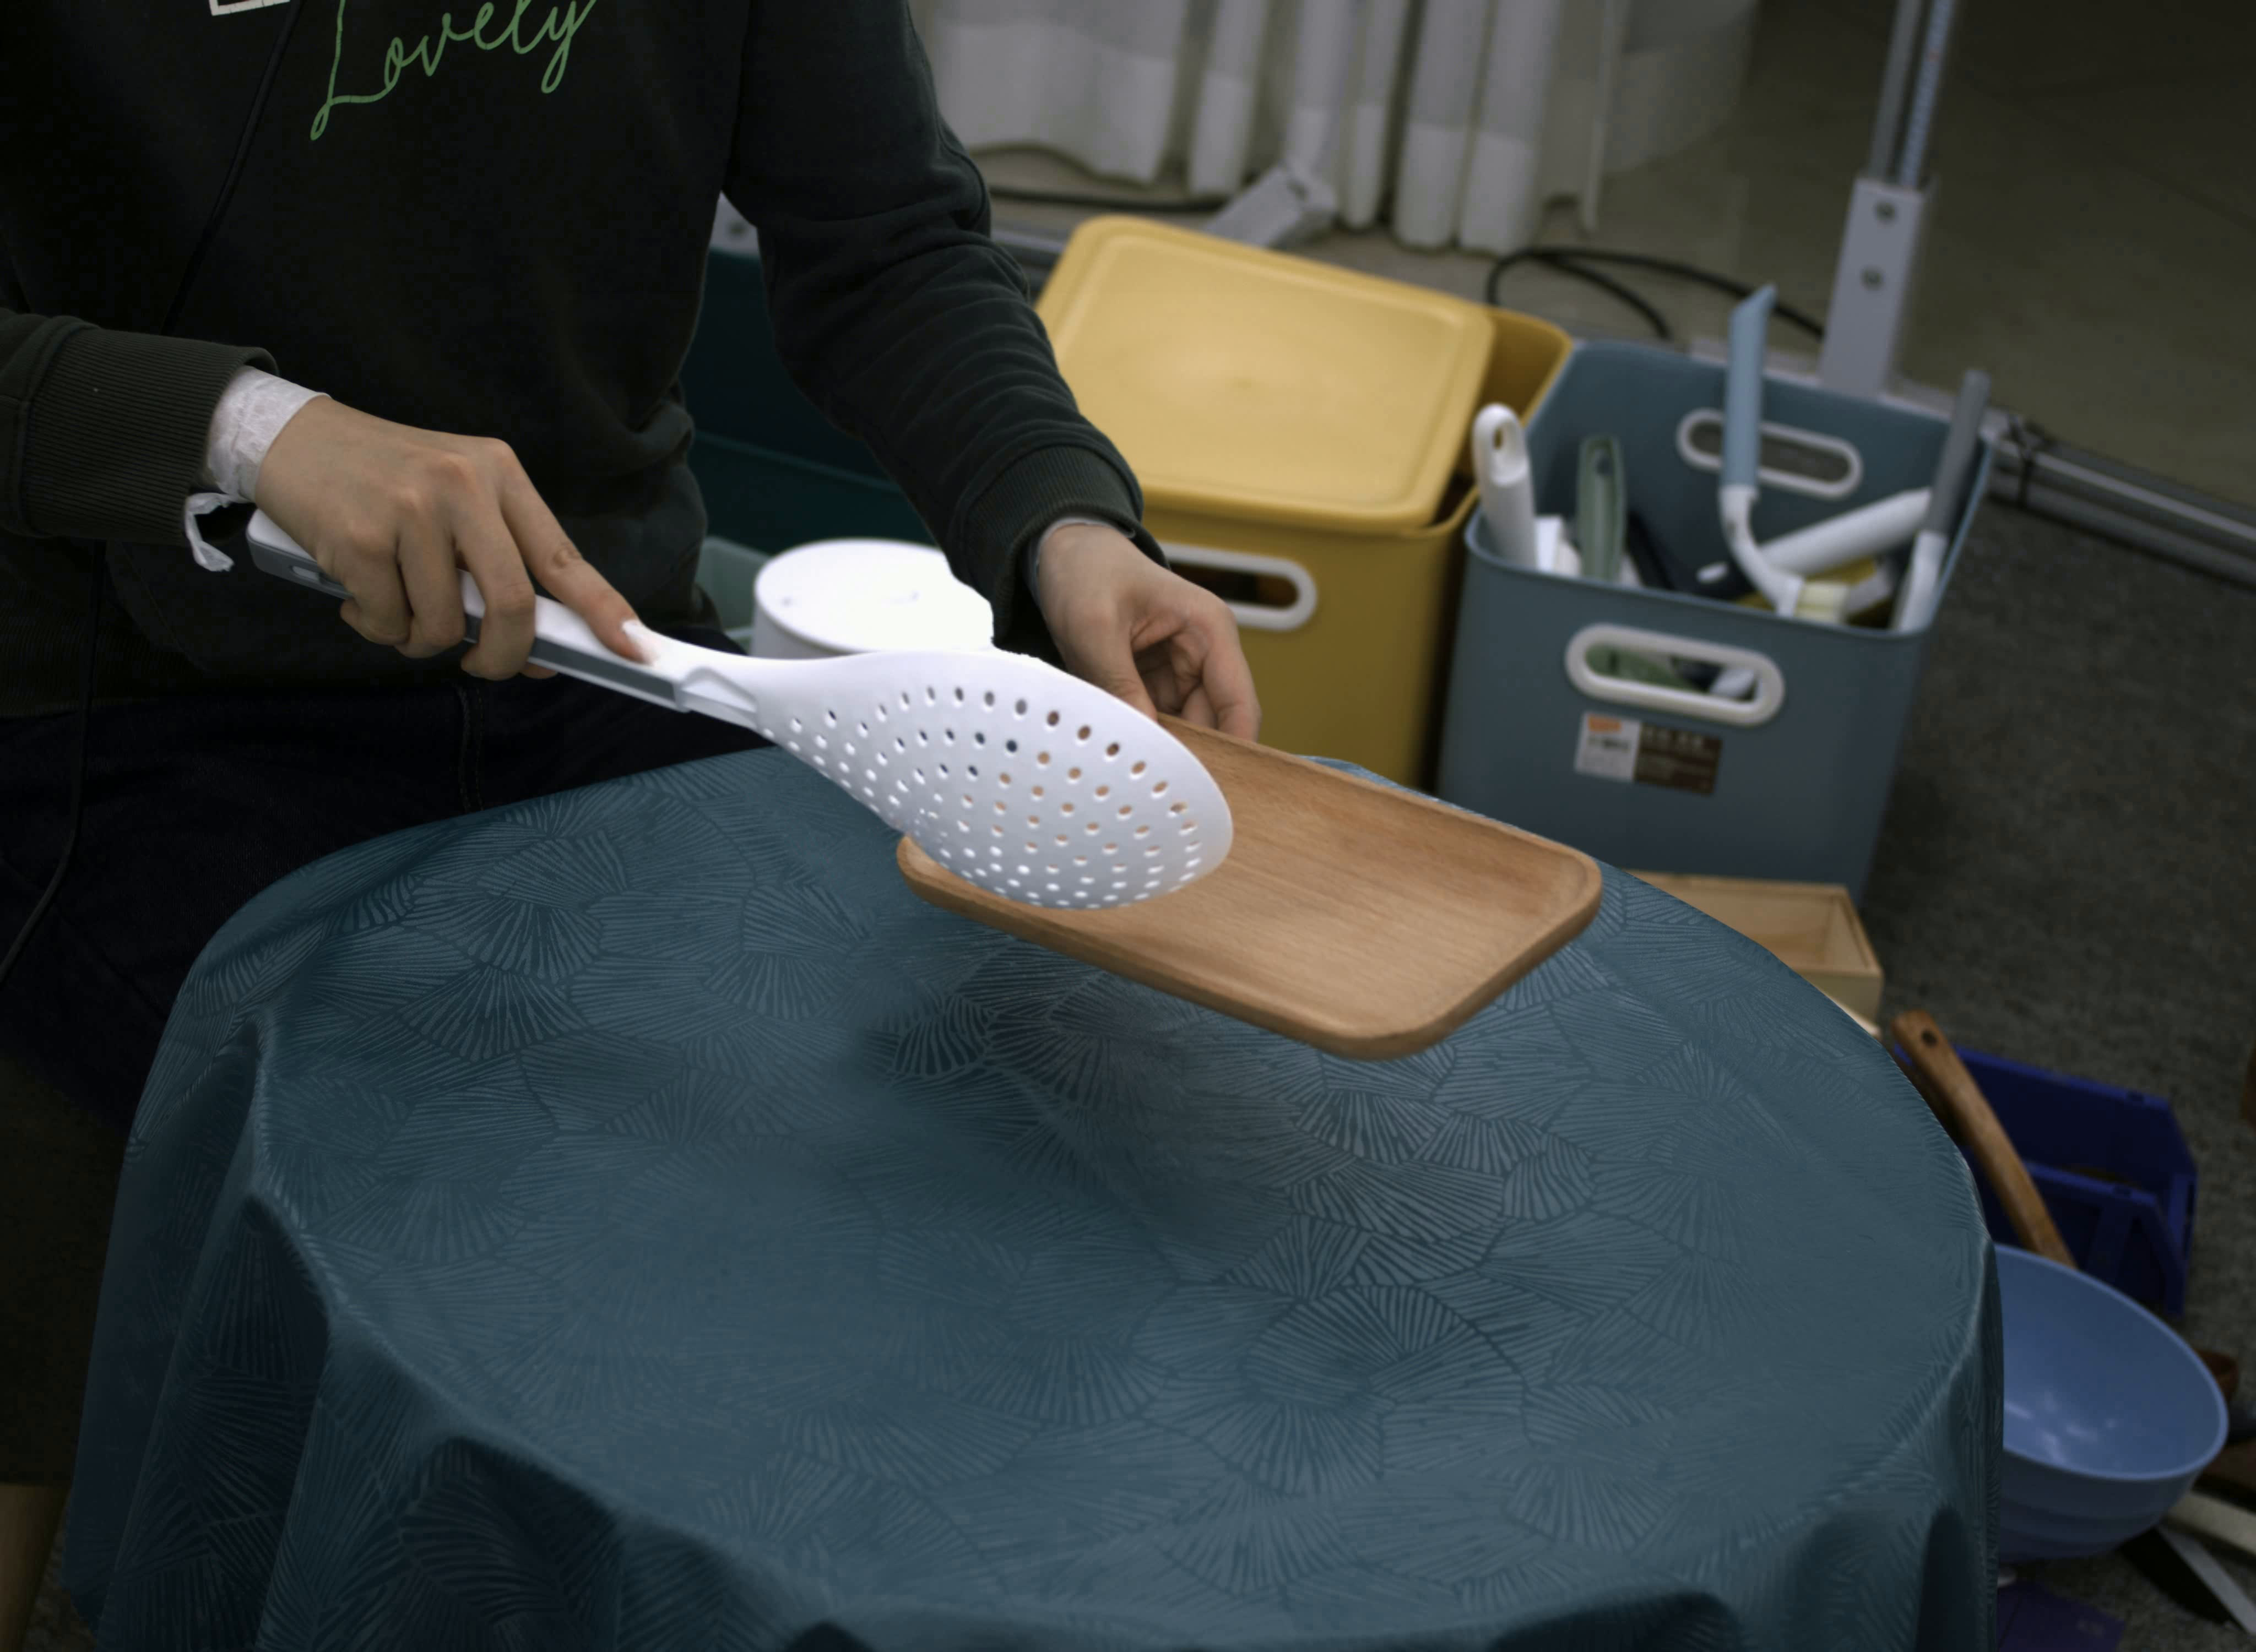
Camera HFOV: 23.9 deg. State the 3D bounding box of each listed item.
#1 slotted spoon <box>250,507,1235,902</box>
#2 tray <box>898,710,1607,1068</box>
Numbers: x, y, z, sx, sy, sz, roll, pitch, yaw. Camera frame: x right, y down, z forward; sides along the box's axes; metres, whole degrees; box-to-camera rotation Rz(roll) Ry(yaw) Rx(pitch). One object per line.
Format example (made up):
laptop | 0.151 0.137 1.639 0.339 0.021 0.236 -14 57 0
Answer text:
slotted spoon | -0.133 -0.047 1.772 0.350 0.135 0.046 22 62 14
tray | 0.040 0.020 1.828 0.252 0.023 0.130 19 40 42
